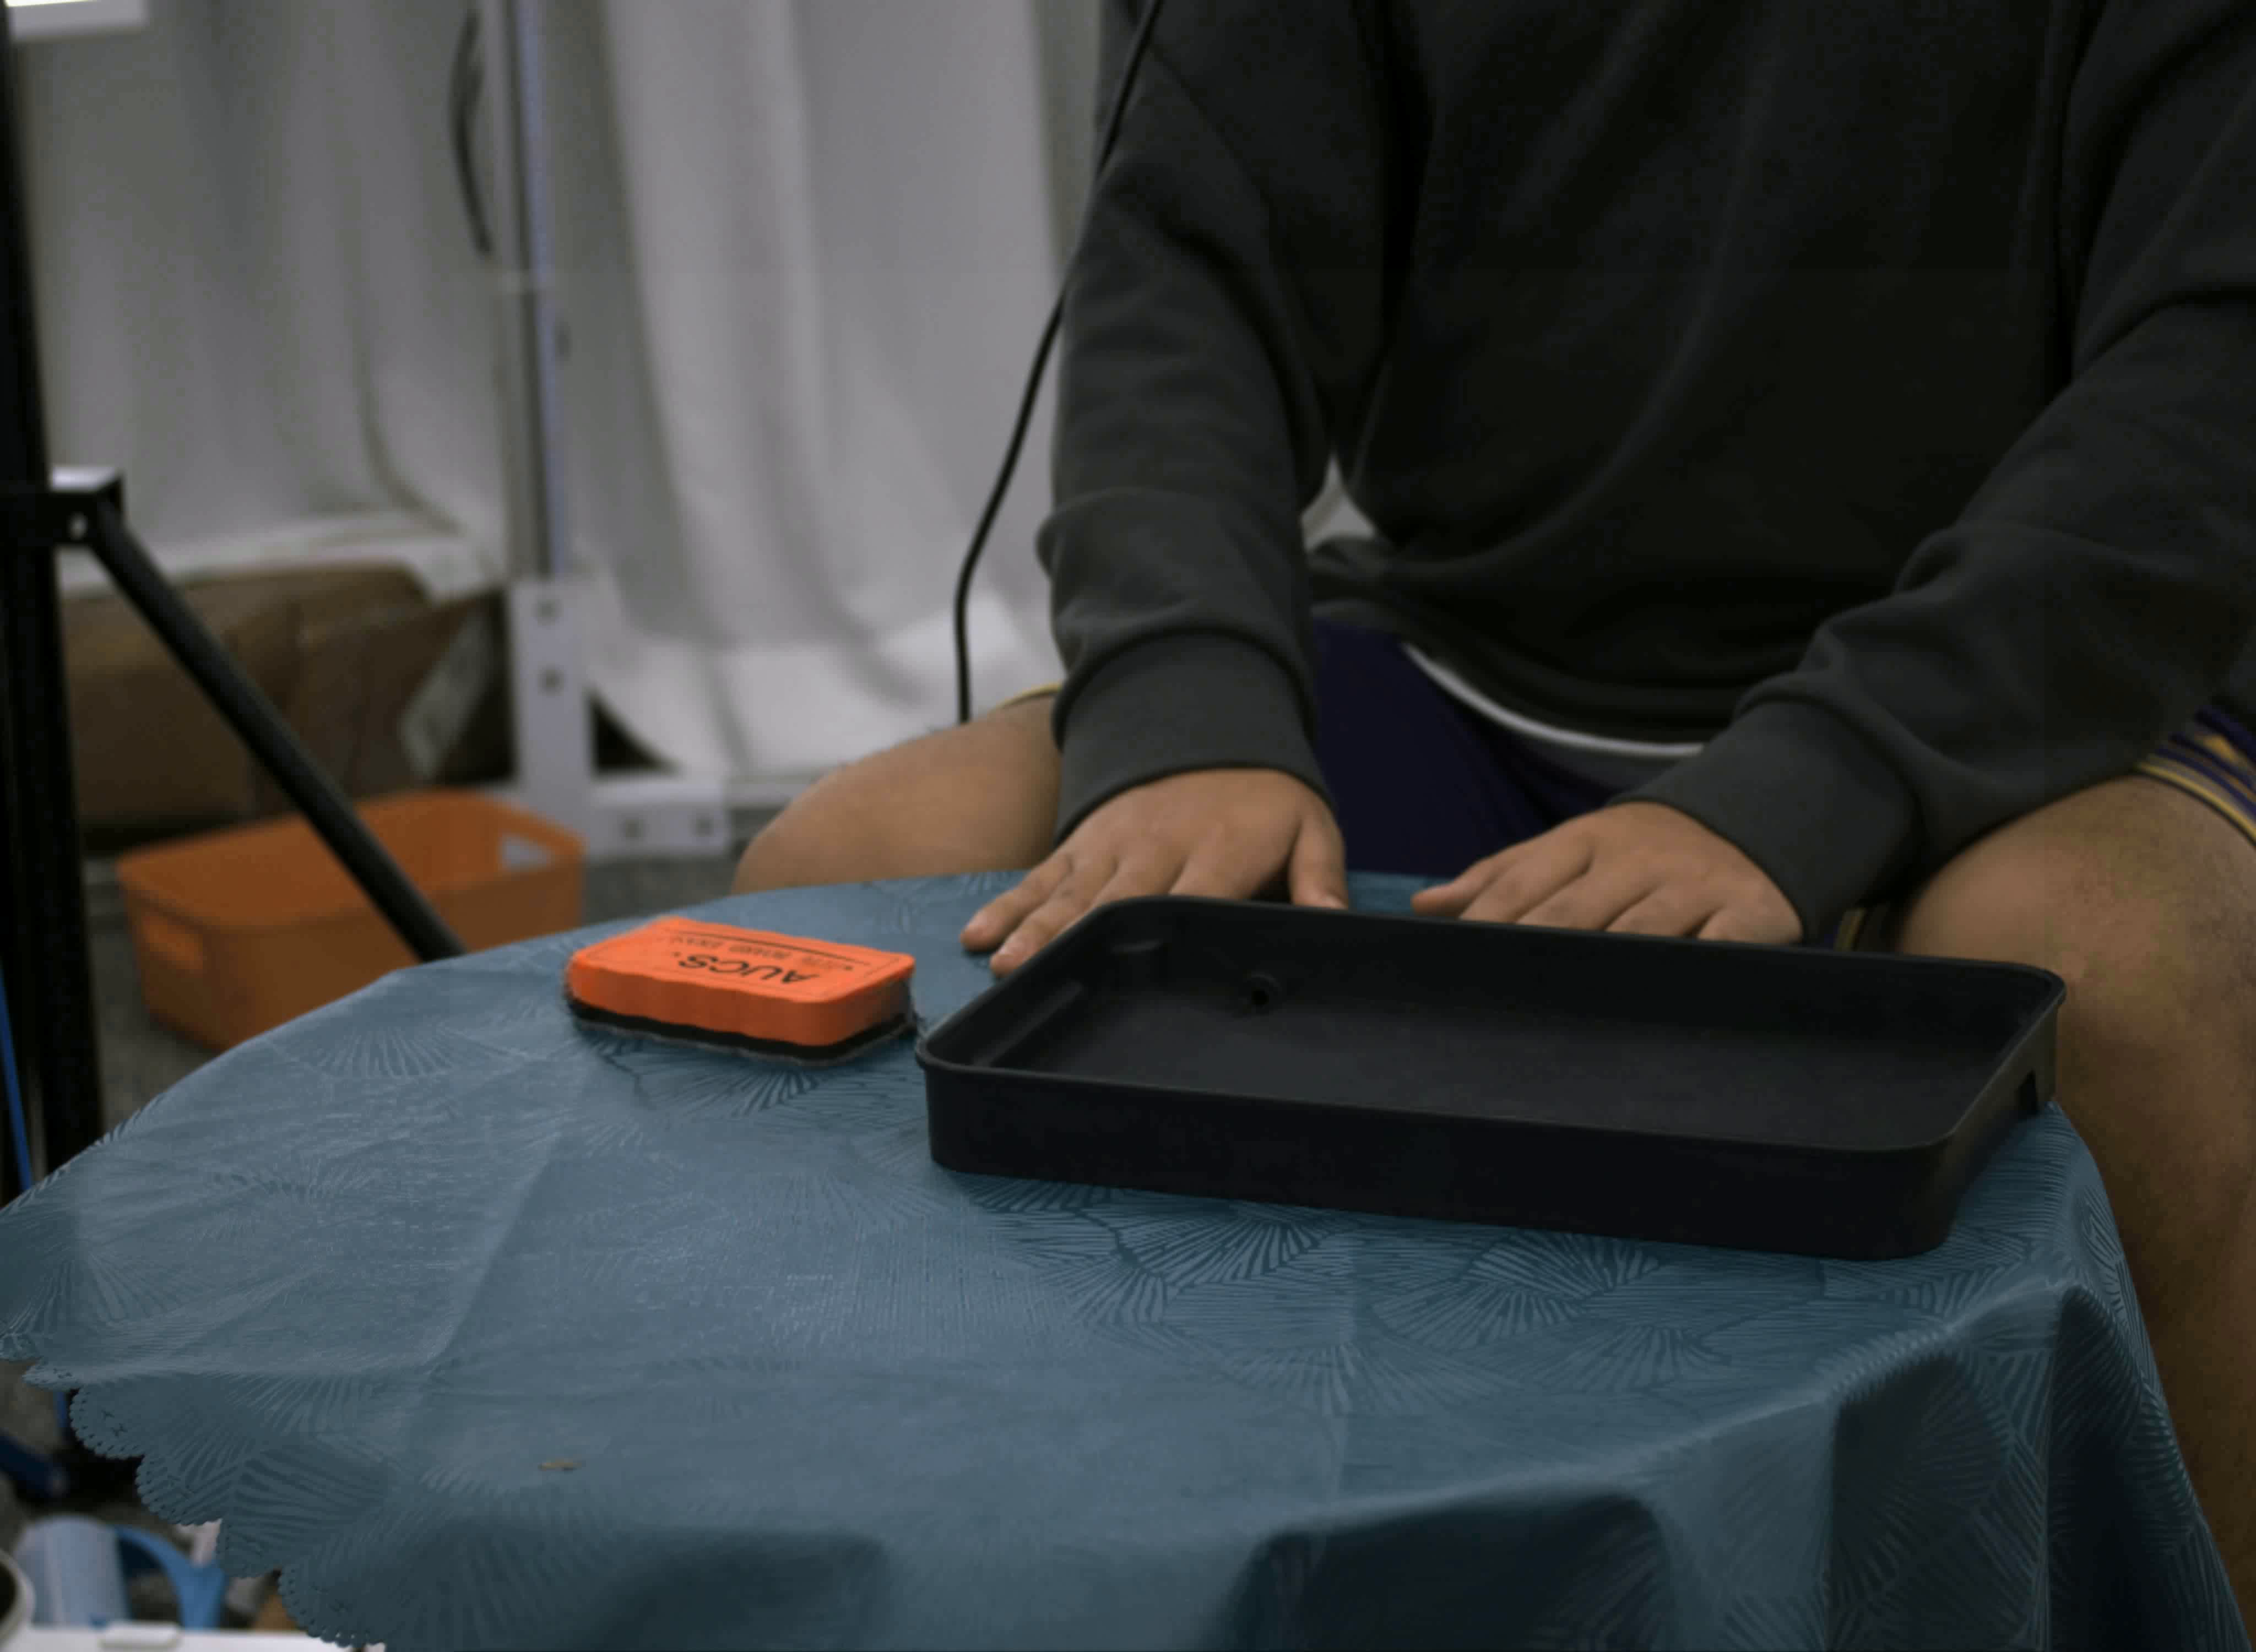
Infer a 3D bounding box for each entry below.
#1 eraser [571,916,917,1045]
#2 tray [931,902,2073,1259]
[{"bbox_3d":[-0.125,0.050,1.730,0.110,0.023,0.058,7,12,33],"label":"eraser"},{"bbox_3d":[0.115,0.074,1.599,0.322,0.037,0.182,3,16,22],"label":"tray"}]
